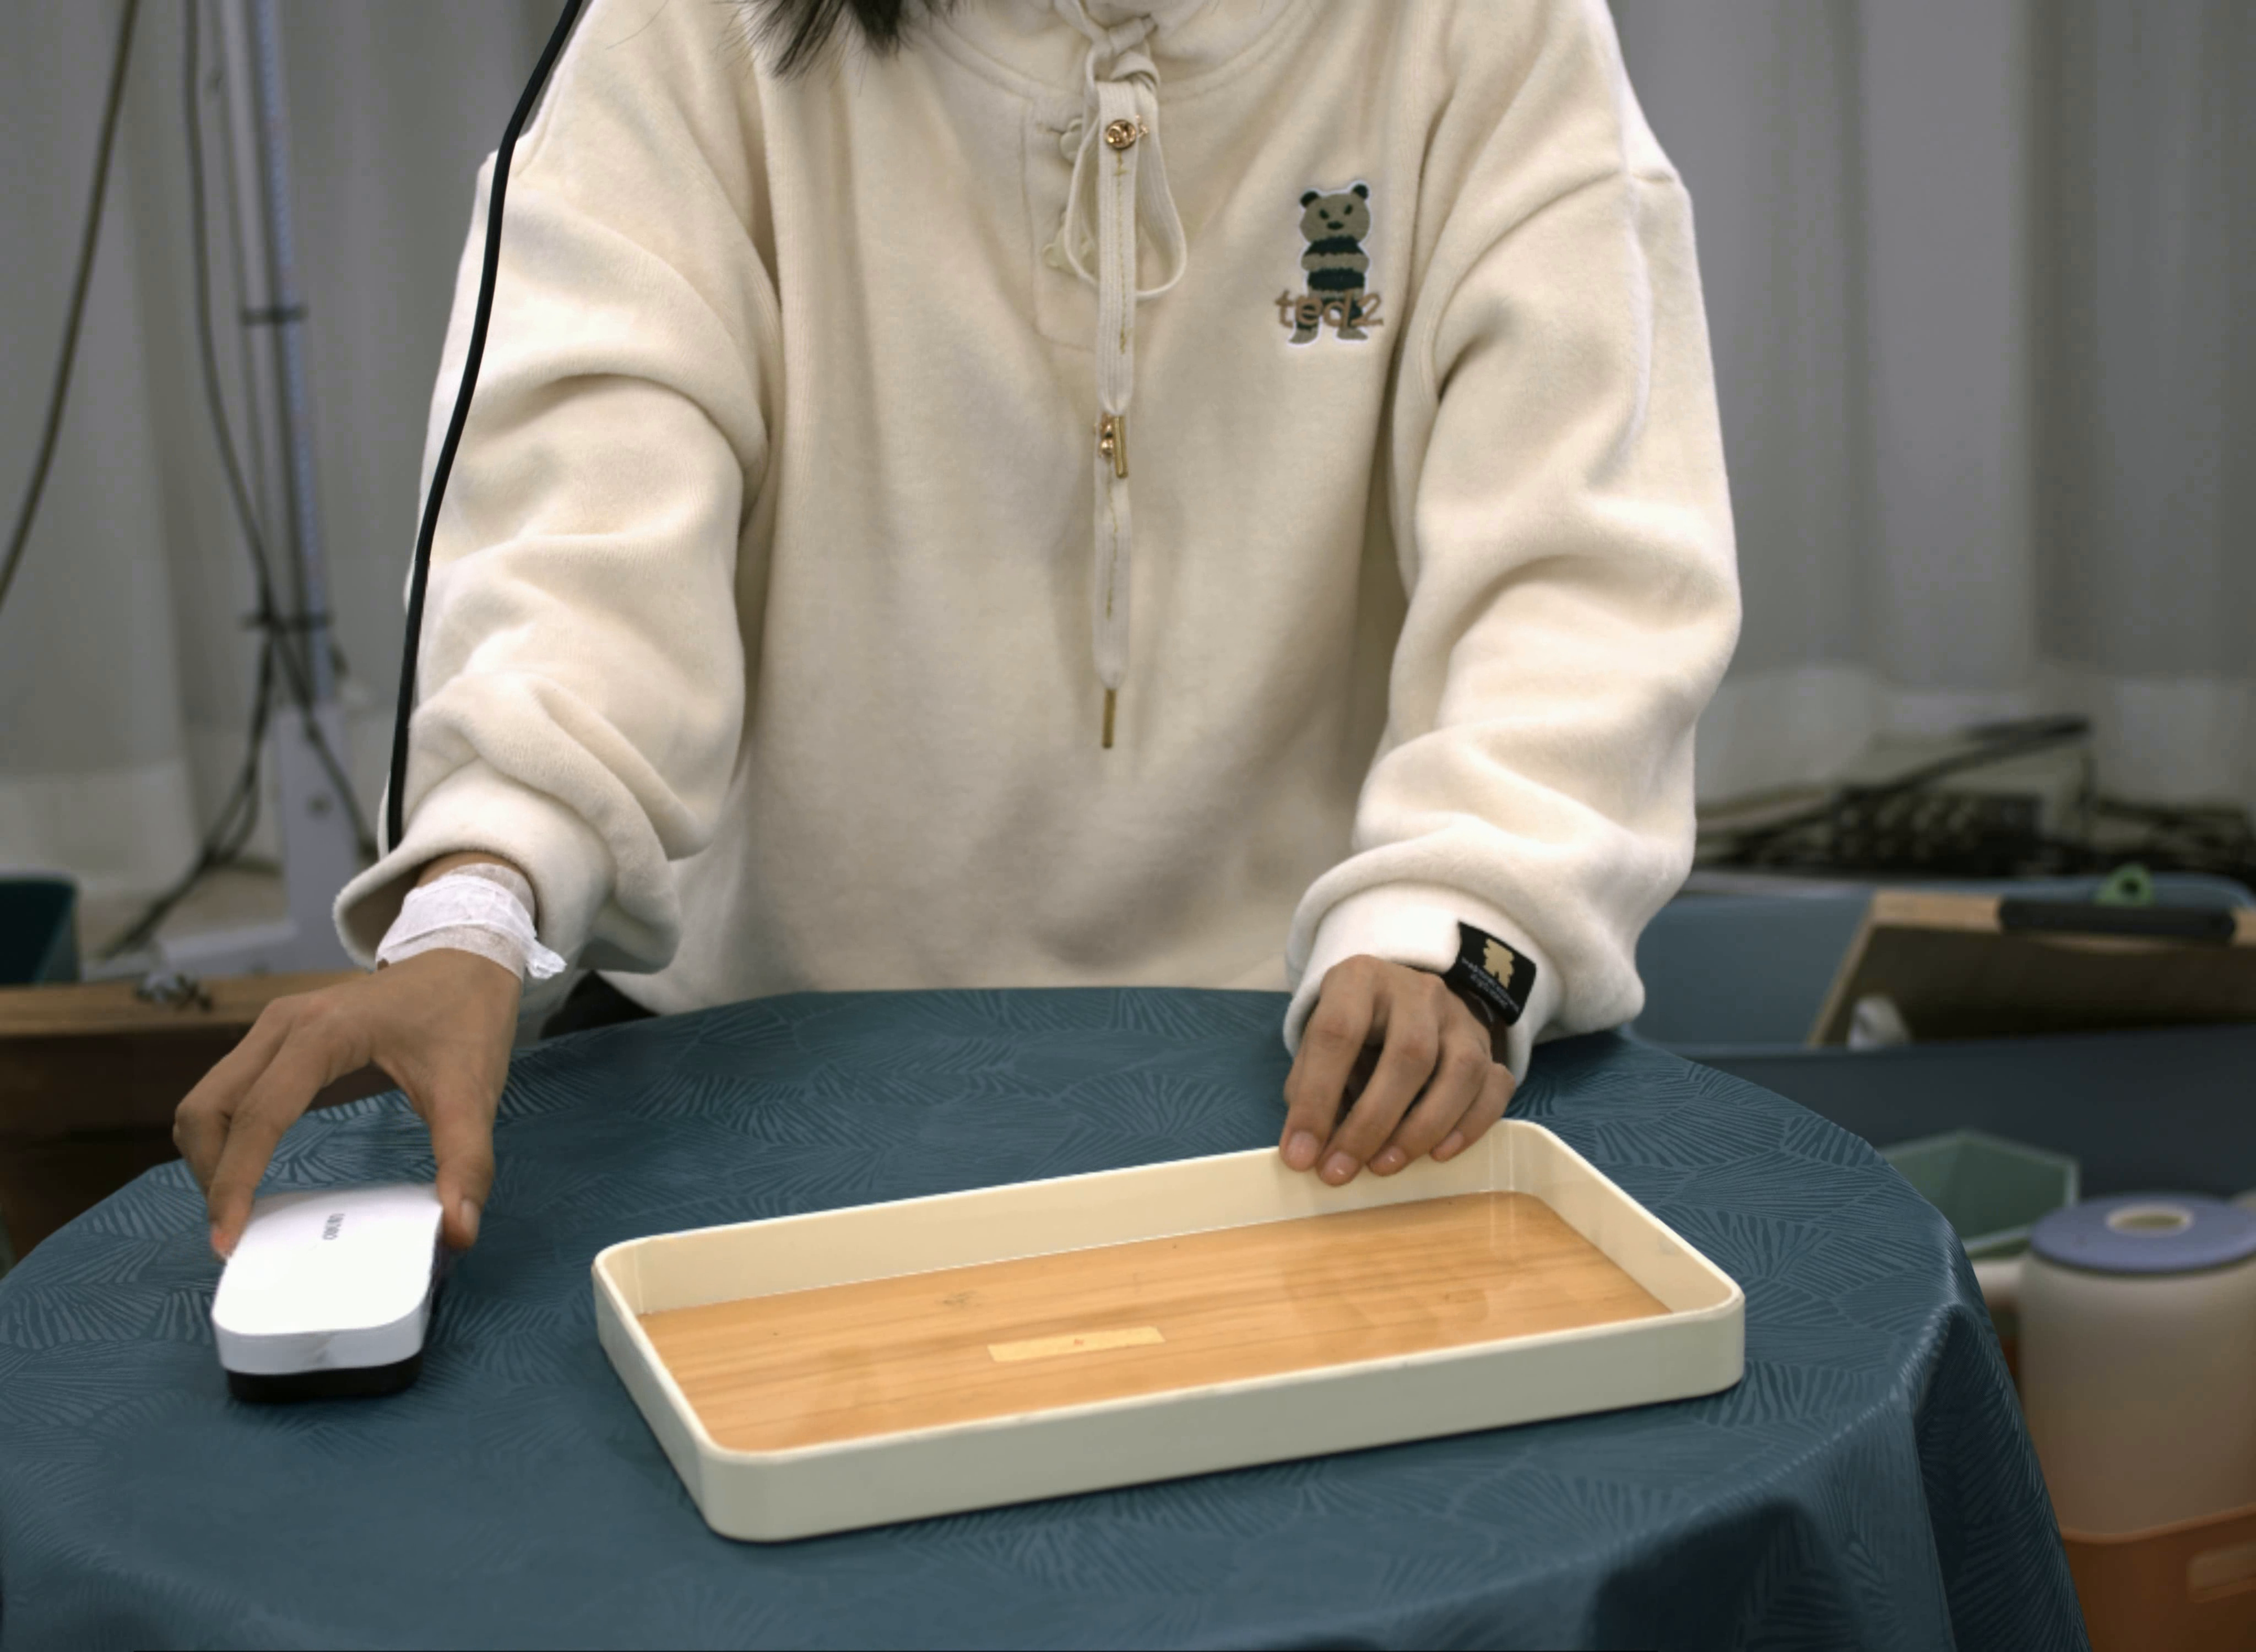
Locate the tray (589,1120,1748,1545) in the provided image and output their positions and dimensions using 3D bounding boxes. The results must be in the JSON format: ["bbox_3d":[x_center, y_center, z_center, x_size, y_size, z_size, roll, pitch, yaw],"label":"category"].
[{"bbox_3d":[0.008,0.141,1.561,0.299,0.027,0.193,-7,16,-14],"label":"tray"}]

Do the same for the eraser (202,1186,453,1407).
[{"bbox_3d":[-0.234,0.135,1.623,0.063,0.034,0.132,-3,15,1],"label":"eraser"}]
